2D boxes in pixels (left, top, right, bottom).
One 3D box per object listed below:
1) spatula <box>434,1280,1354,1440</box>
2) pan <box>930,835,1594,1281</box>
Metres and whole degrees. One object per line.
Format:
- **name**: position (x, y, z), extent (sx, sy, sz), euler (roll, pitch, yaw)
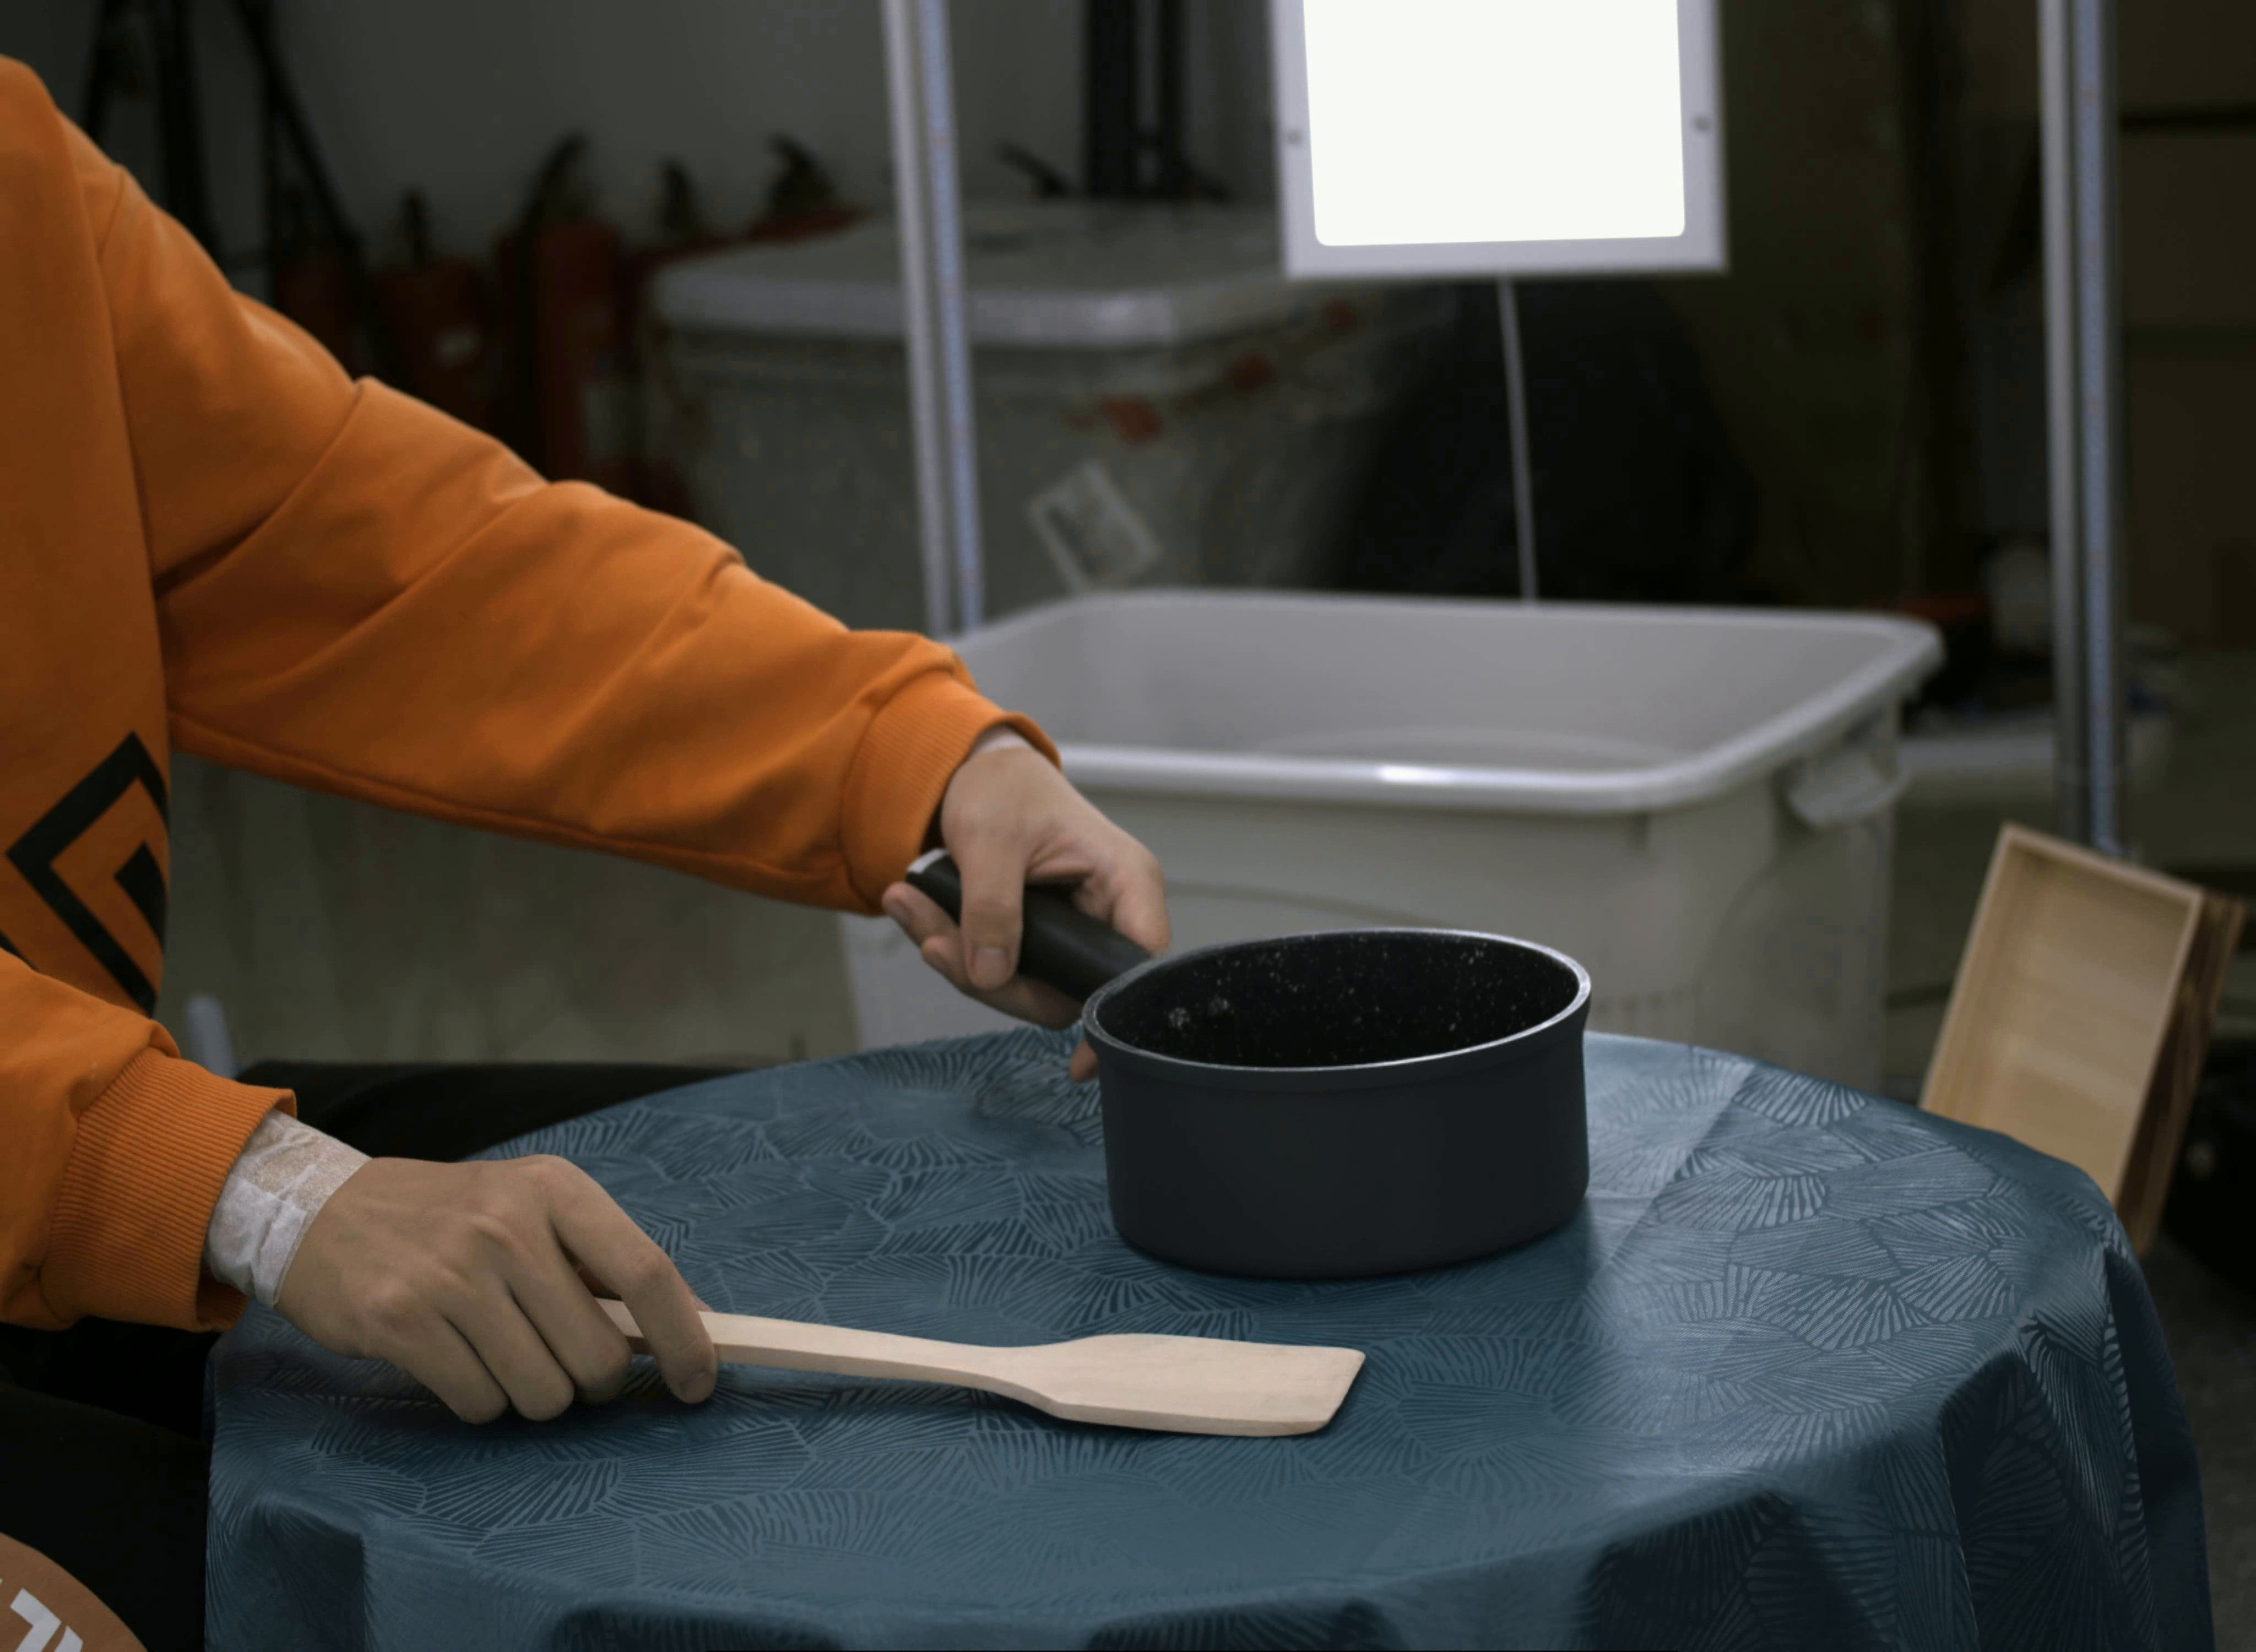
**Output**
- **spatula**: position (-0.077, 0.163, 1.715), extent (0.296, 0.011, 0.071), euler (4, 17, 15)
- **pan**: position (0.029, 0.076, 1.915), extent (0.168, 0.087, 0.335), euler (-13, 17, -30)
